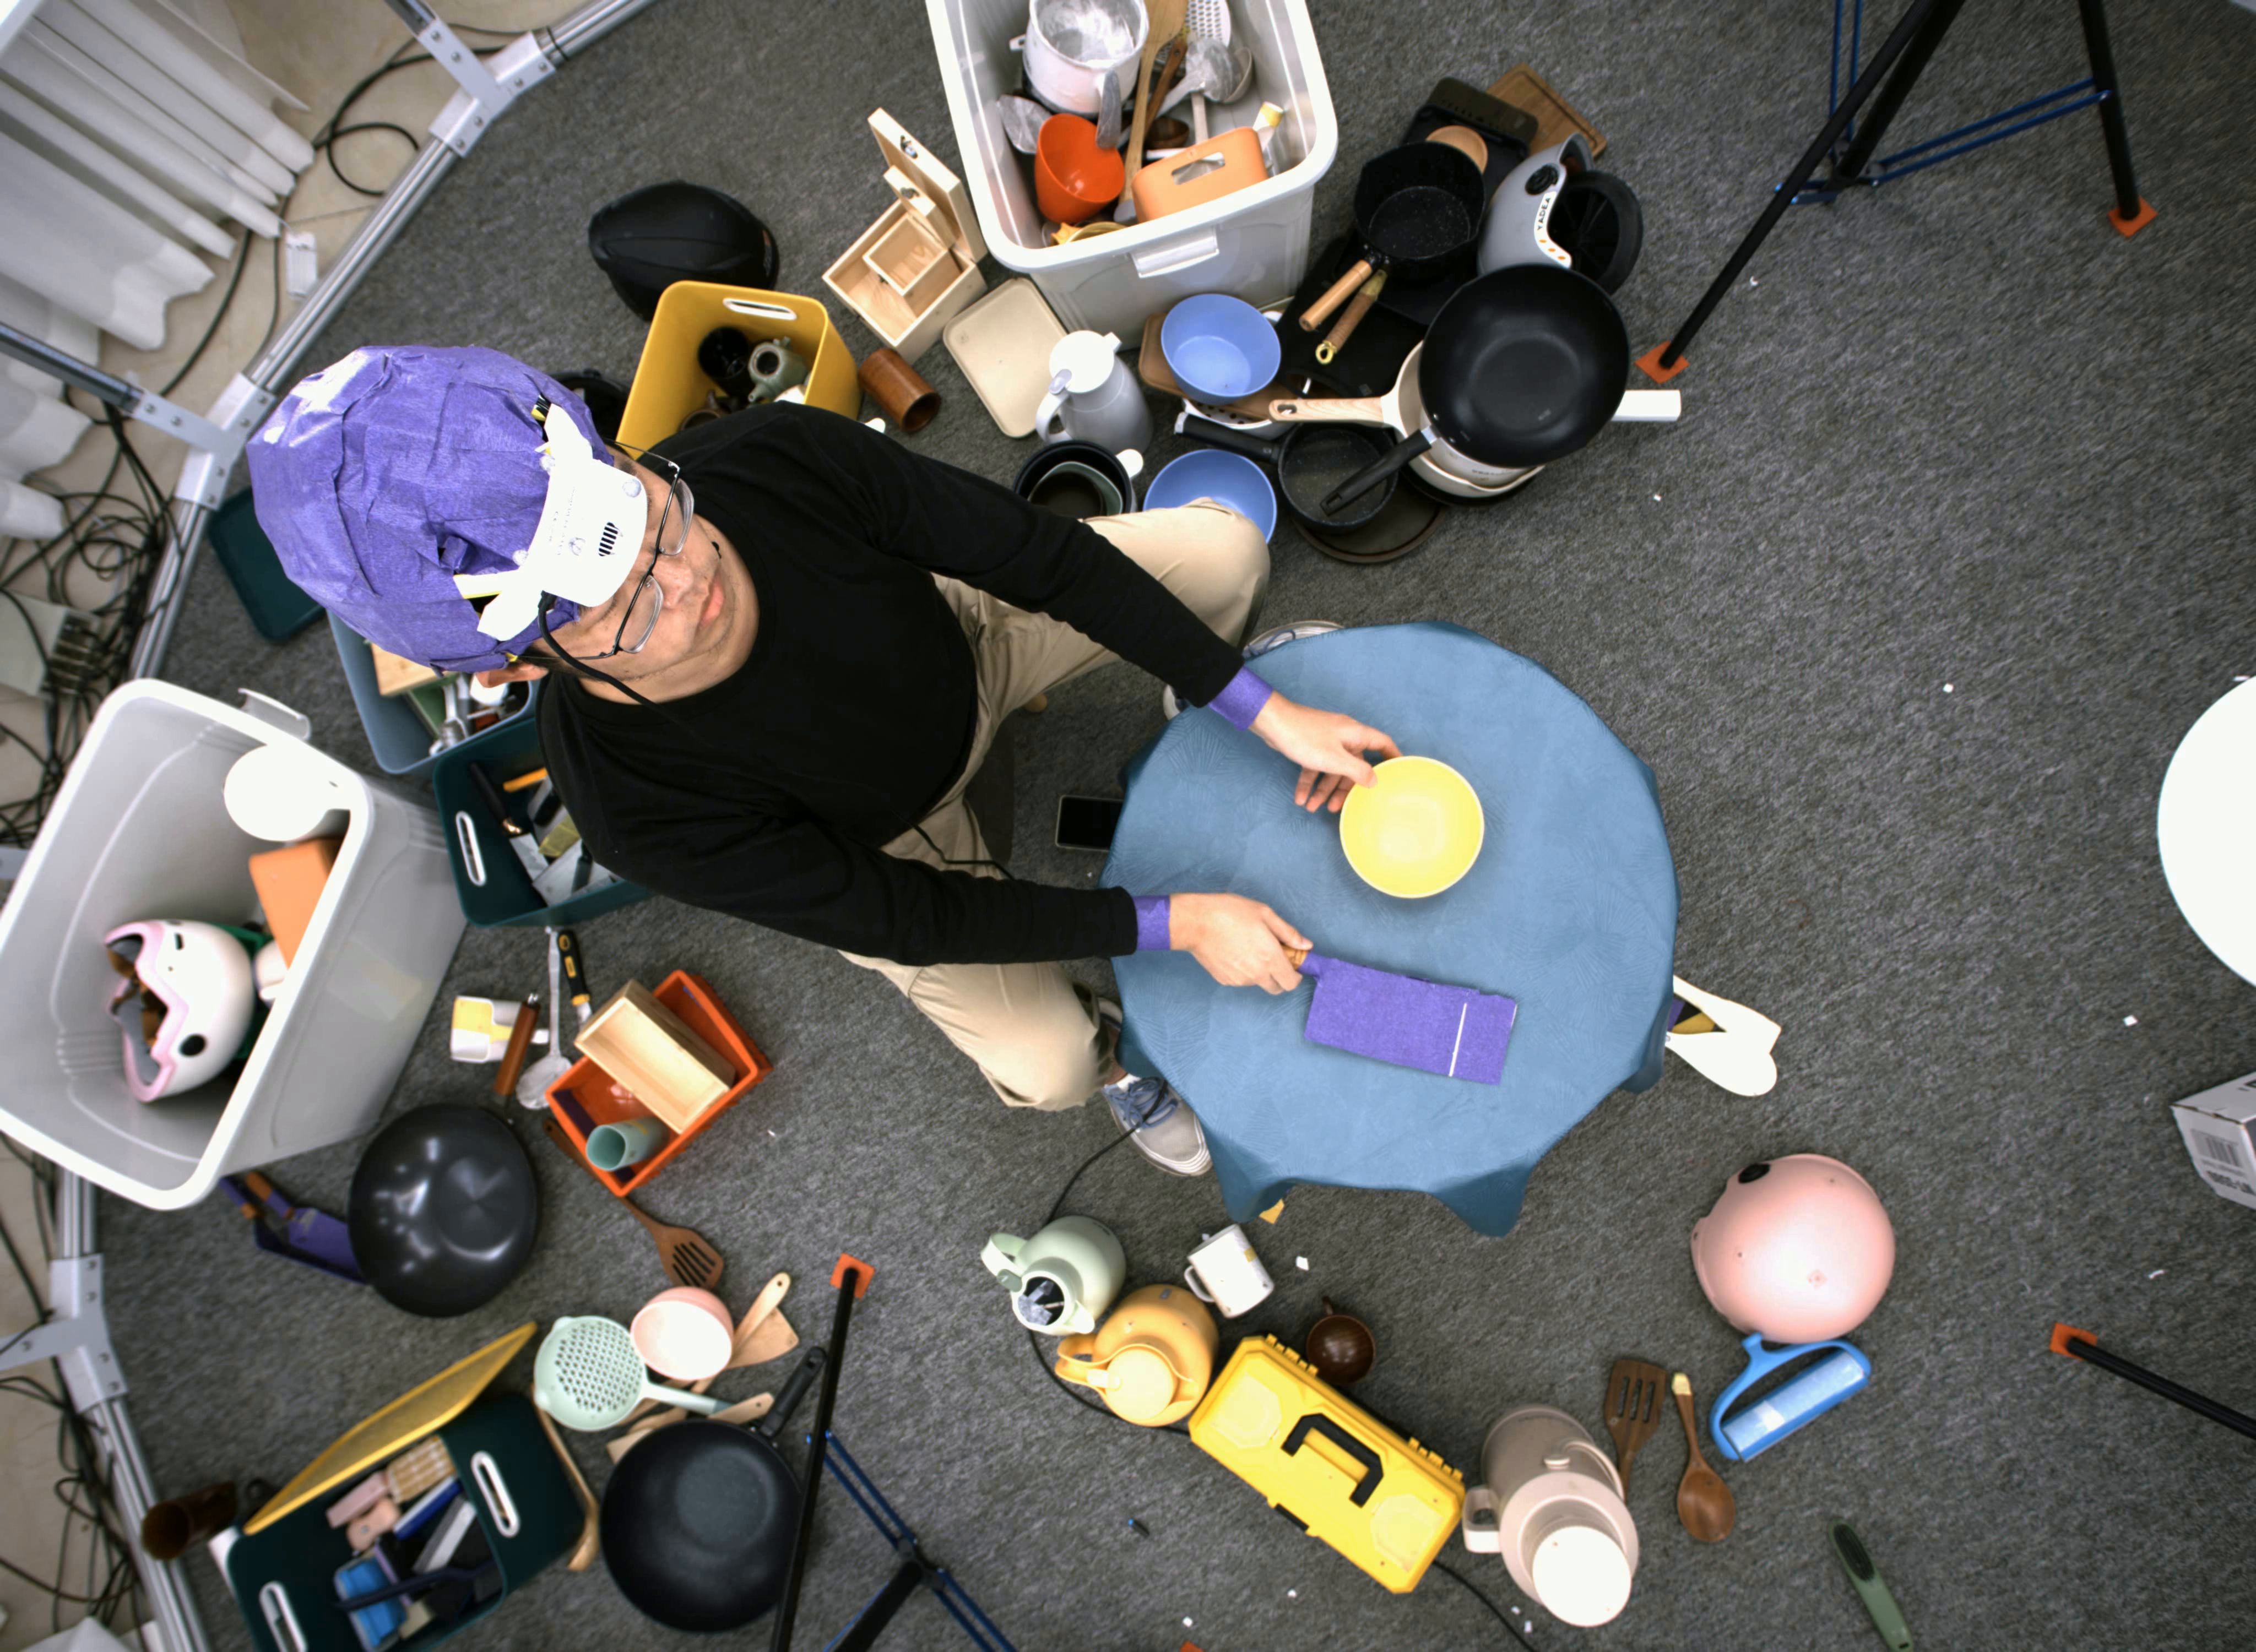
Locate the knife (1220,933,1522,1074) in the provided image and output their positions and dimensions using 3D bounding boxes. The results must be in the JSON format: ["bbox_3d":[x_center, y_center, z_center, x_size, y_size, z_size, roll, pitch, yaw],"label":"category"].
[{"bbox_3d":[0.244,0.186,1.433,0.316,0.032,0.104,12,95,7],"label":"knife"}]

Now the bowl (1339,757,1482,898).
[{"bbox_3d":[0.291,0.003,1.429,0.146,0.060,0.144,-1,85,9],"label":"bowl"}]
